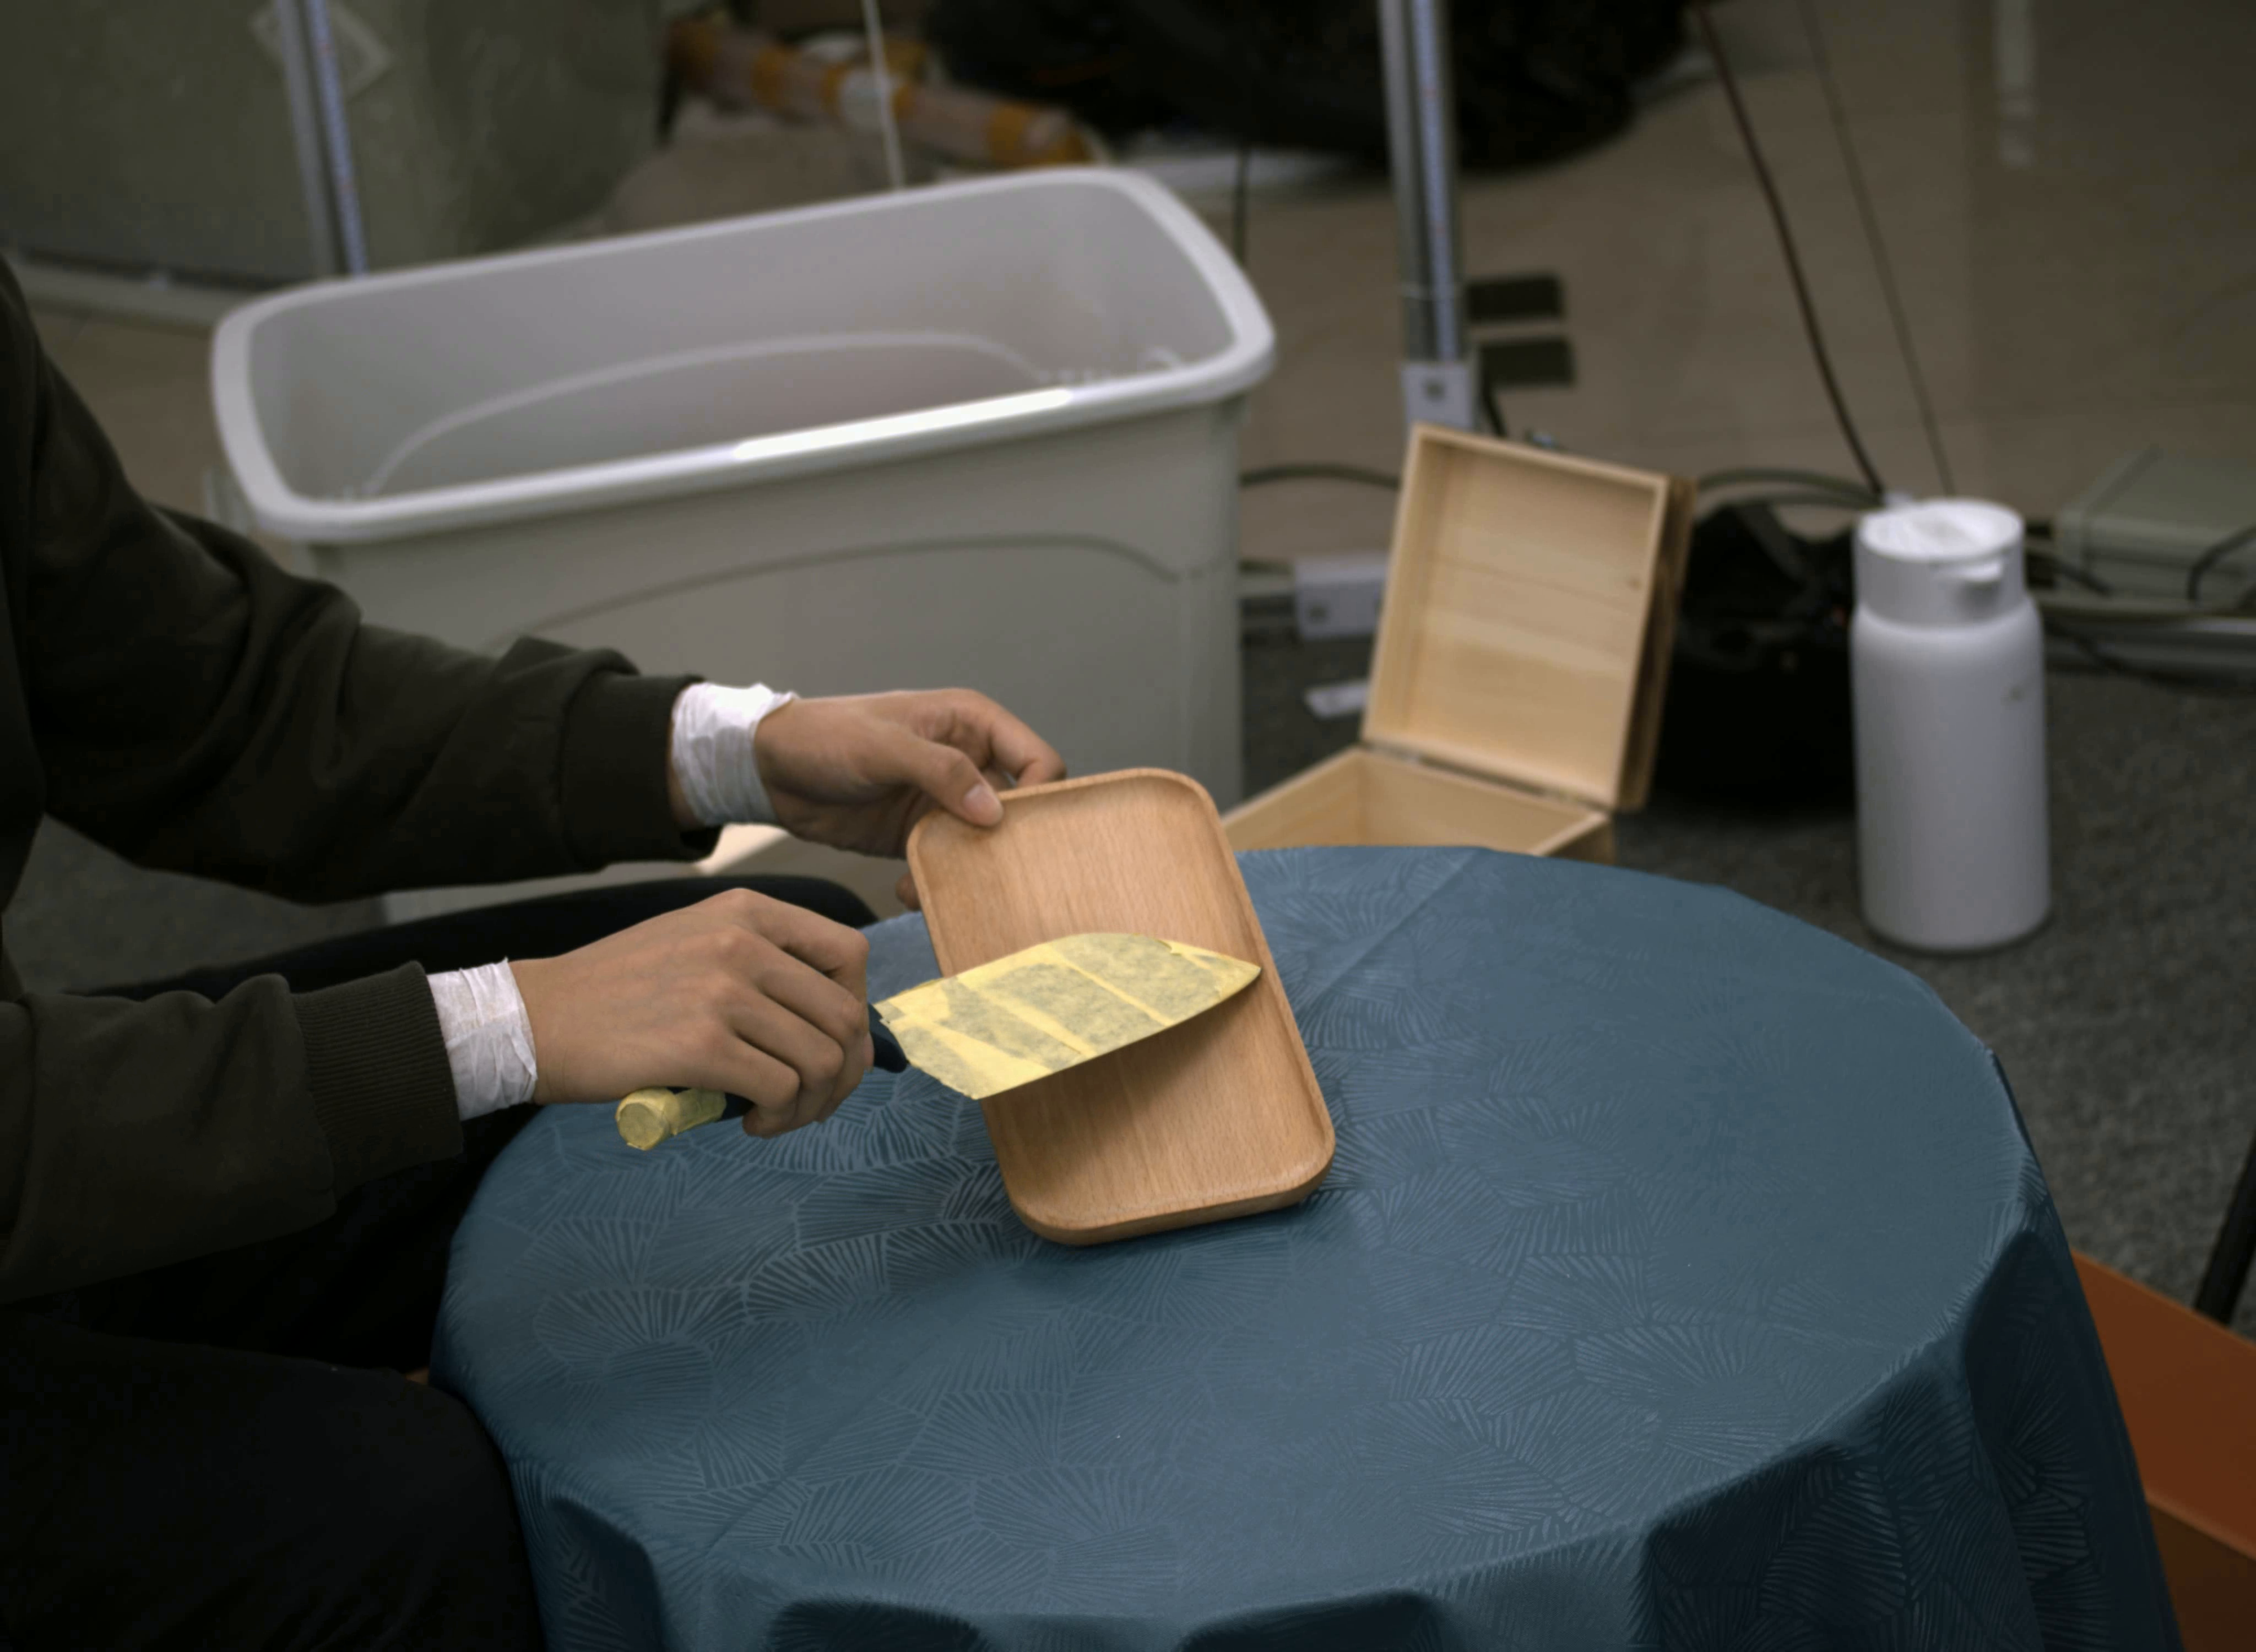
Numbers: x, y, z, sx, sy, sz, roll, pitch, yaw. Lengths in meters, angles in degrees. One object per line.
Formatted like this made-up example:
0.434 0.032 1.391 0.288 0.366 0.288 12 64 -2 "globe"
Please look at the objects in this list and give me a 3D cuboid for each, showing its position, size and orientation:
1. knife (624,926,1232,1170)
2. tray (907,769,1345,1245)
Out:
-0.067 0.082 2.118 0.287 0.027 0.080 -19 37 -40 "knife"
-0.003 0.068 2.202 0.130 0.023 0.246 -12 44 -6 "tray"
